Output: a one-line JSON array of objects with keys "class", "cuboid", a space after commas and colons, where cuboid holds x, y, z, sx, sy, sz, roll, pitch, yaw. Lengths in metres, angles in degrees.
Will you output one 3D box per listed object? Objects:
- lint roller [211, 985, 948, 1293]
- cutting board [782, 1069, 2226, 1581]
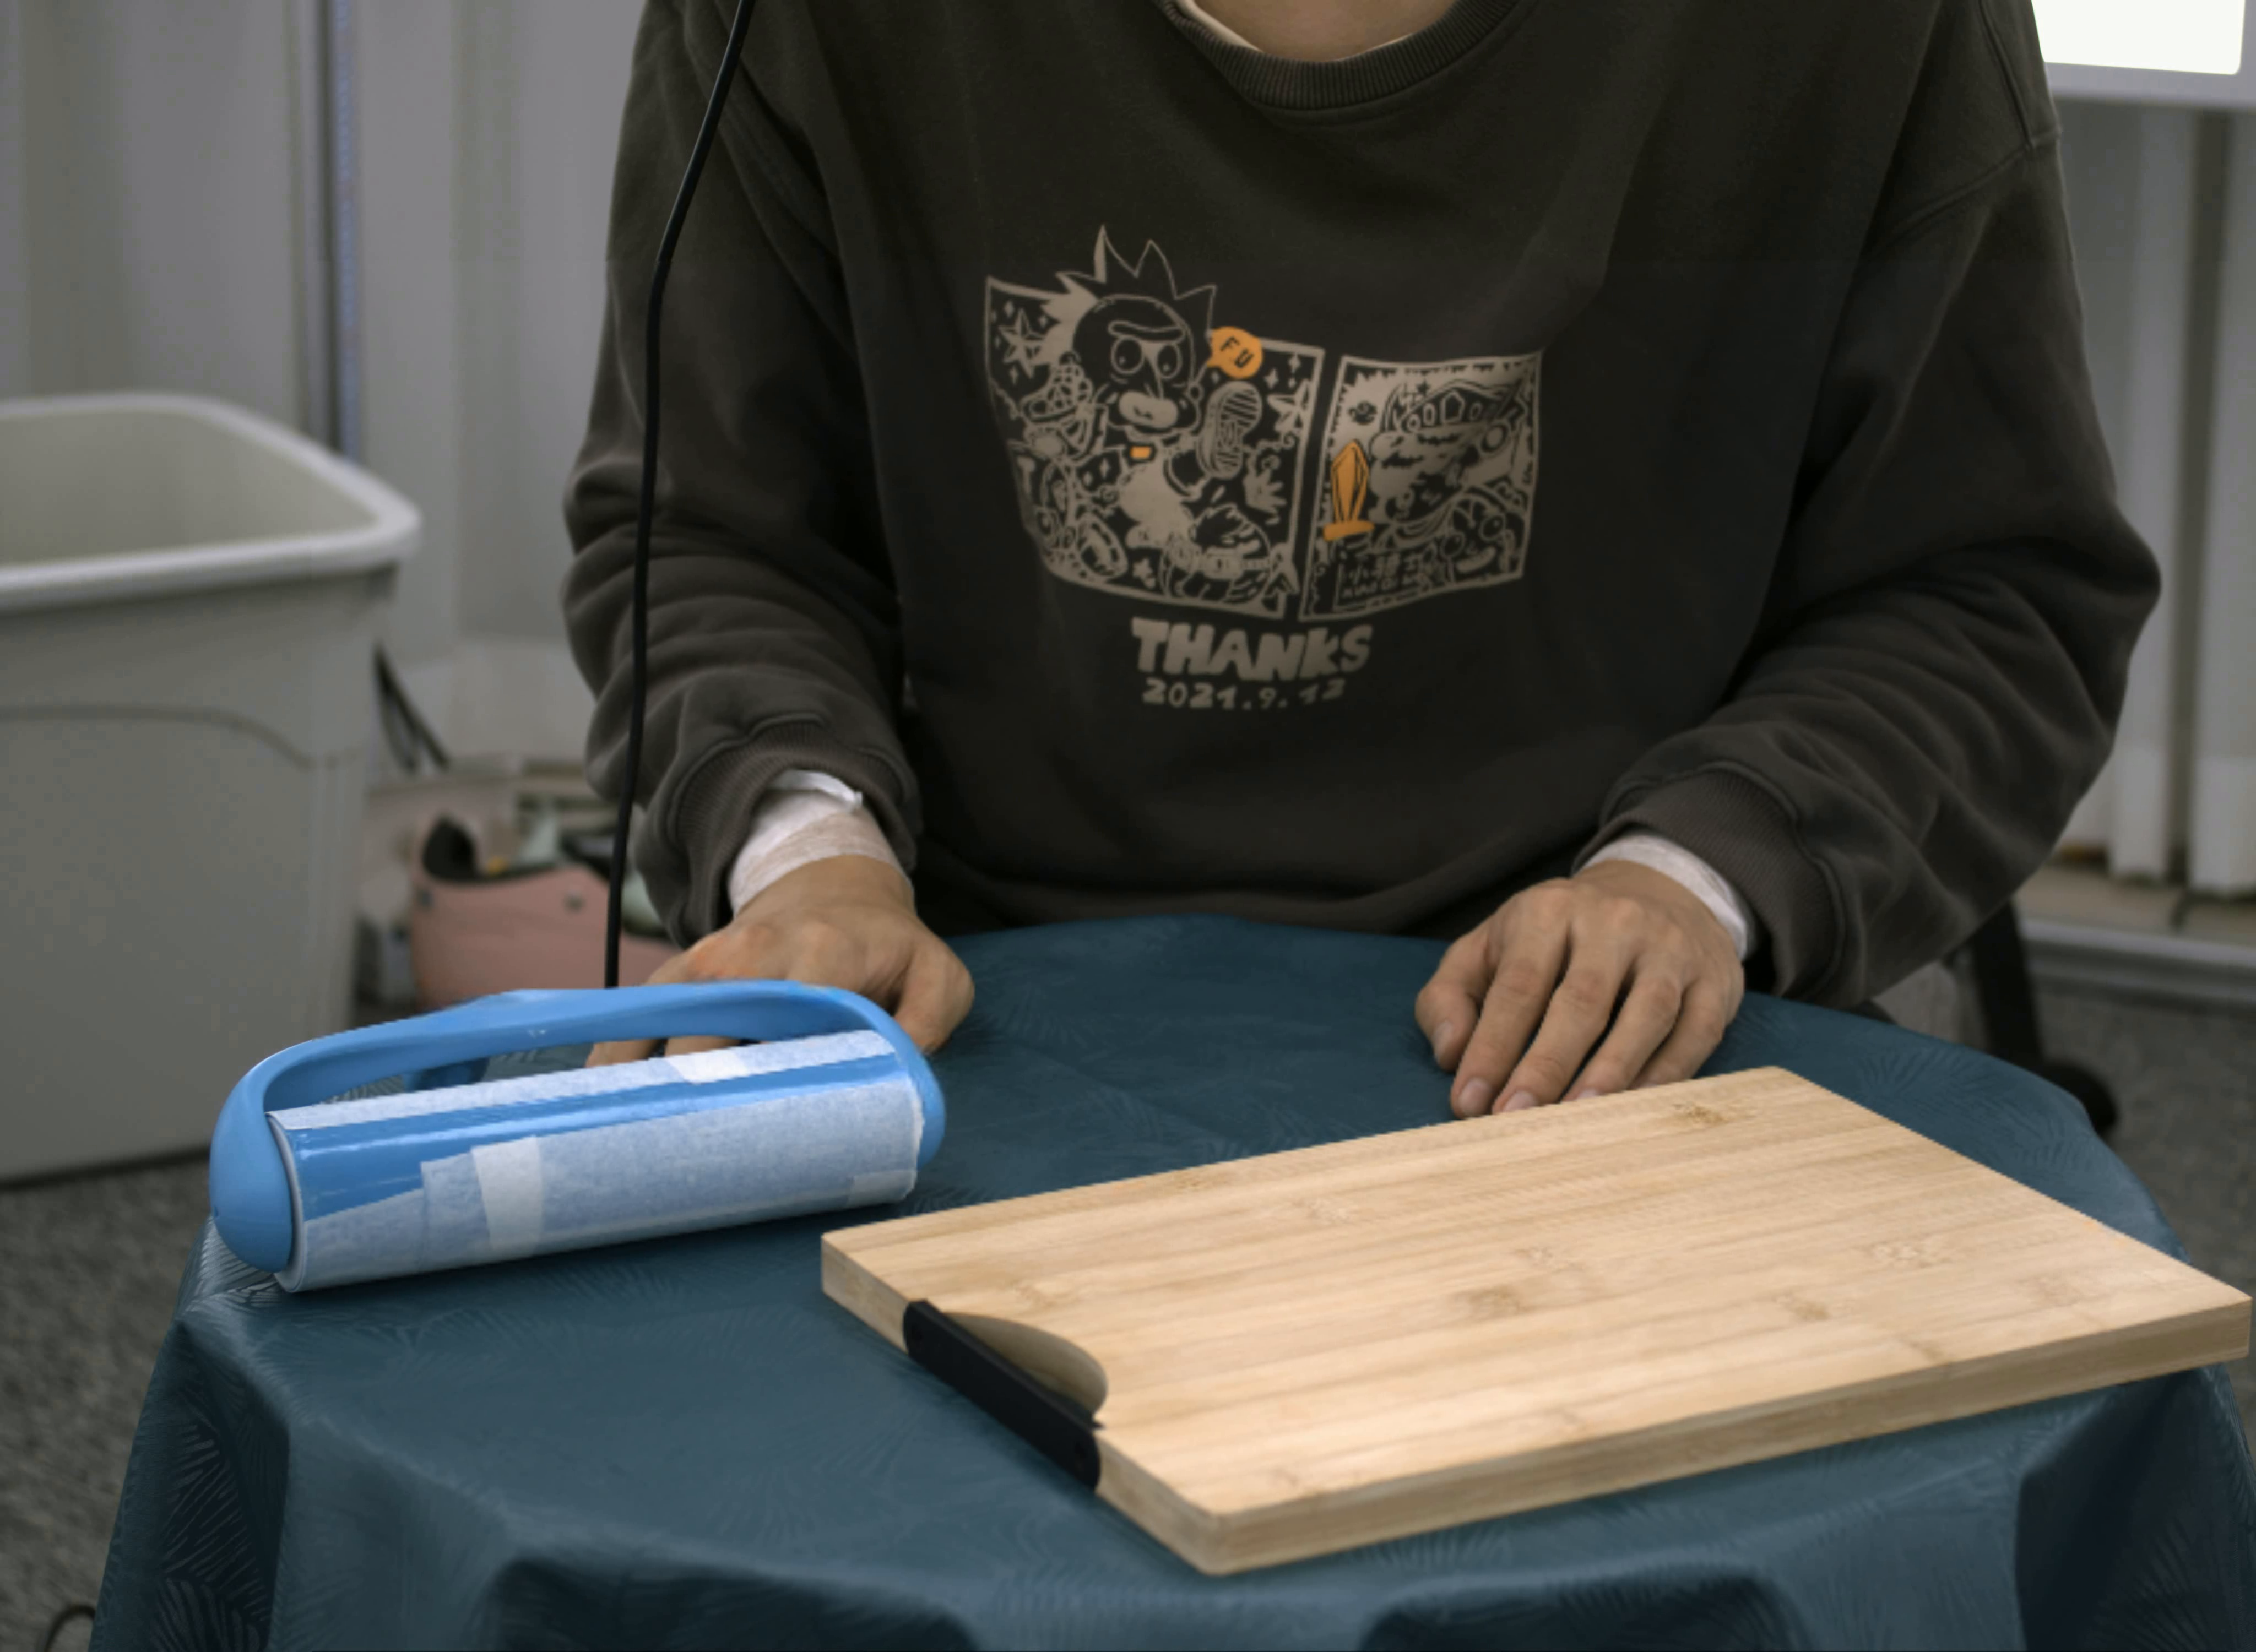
[{"class": "lint roller", "cuboid": [-0.188, 0.083, 1.623, 0.230, 0.068, 0.178, -9, 19, -26]}, {"class": "cutting board", "cuboid": [0.108, 0.136, 1.519, 0.350, 0.024, 0.247, -8, 17, -28]}]
